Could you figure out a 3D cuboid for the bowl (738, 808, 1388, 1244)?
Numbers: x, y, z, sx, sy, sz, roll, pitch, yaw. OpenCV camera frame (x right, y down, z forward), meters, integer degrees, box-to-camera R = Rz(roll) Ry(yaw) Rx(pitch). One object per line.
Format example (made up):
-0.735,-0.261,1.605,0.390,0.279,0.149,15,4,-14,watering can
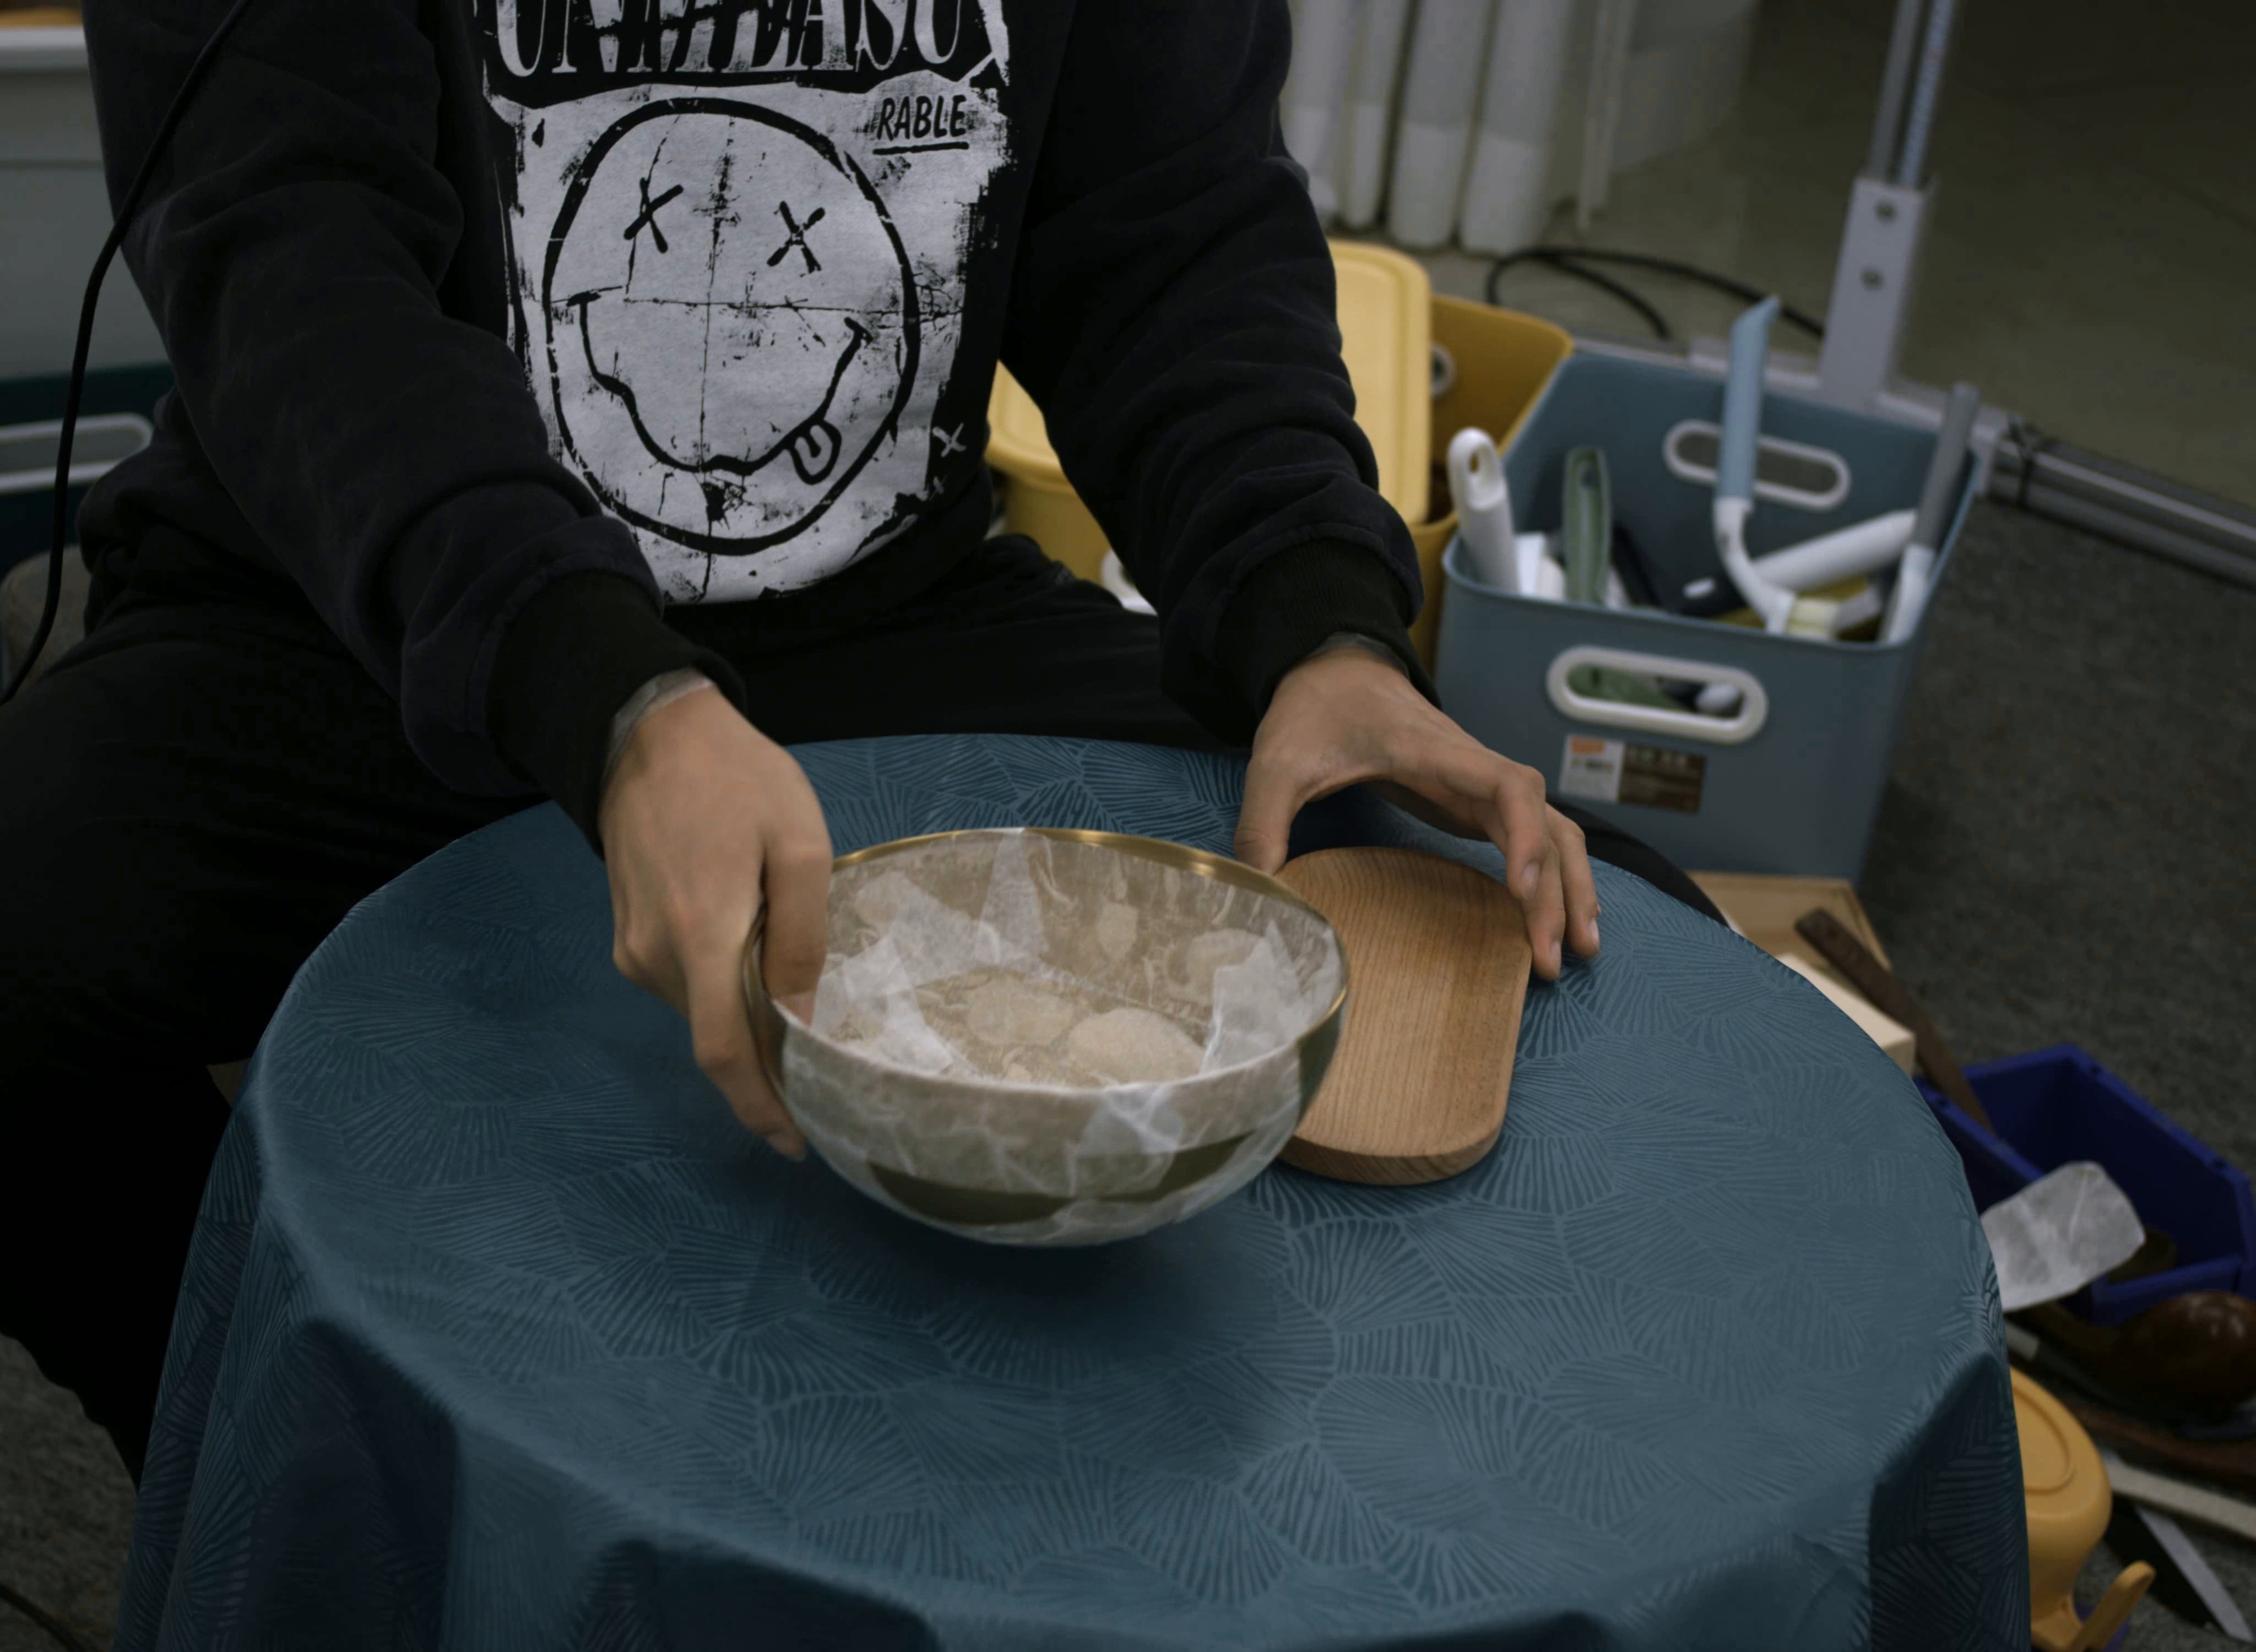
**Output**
-0.024,0.078,1.758,0.214,0.094,0.216,1,24,-1,bowl

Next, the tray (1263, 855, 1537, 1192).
0.093,0.069,1.912,0.101,0.020,0.232,8,28,4,tray
